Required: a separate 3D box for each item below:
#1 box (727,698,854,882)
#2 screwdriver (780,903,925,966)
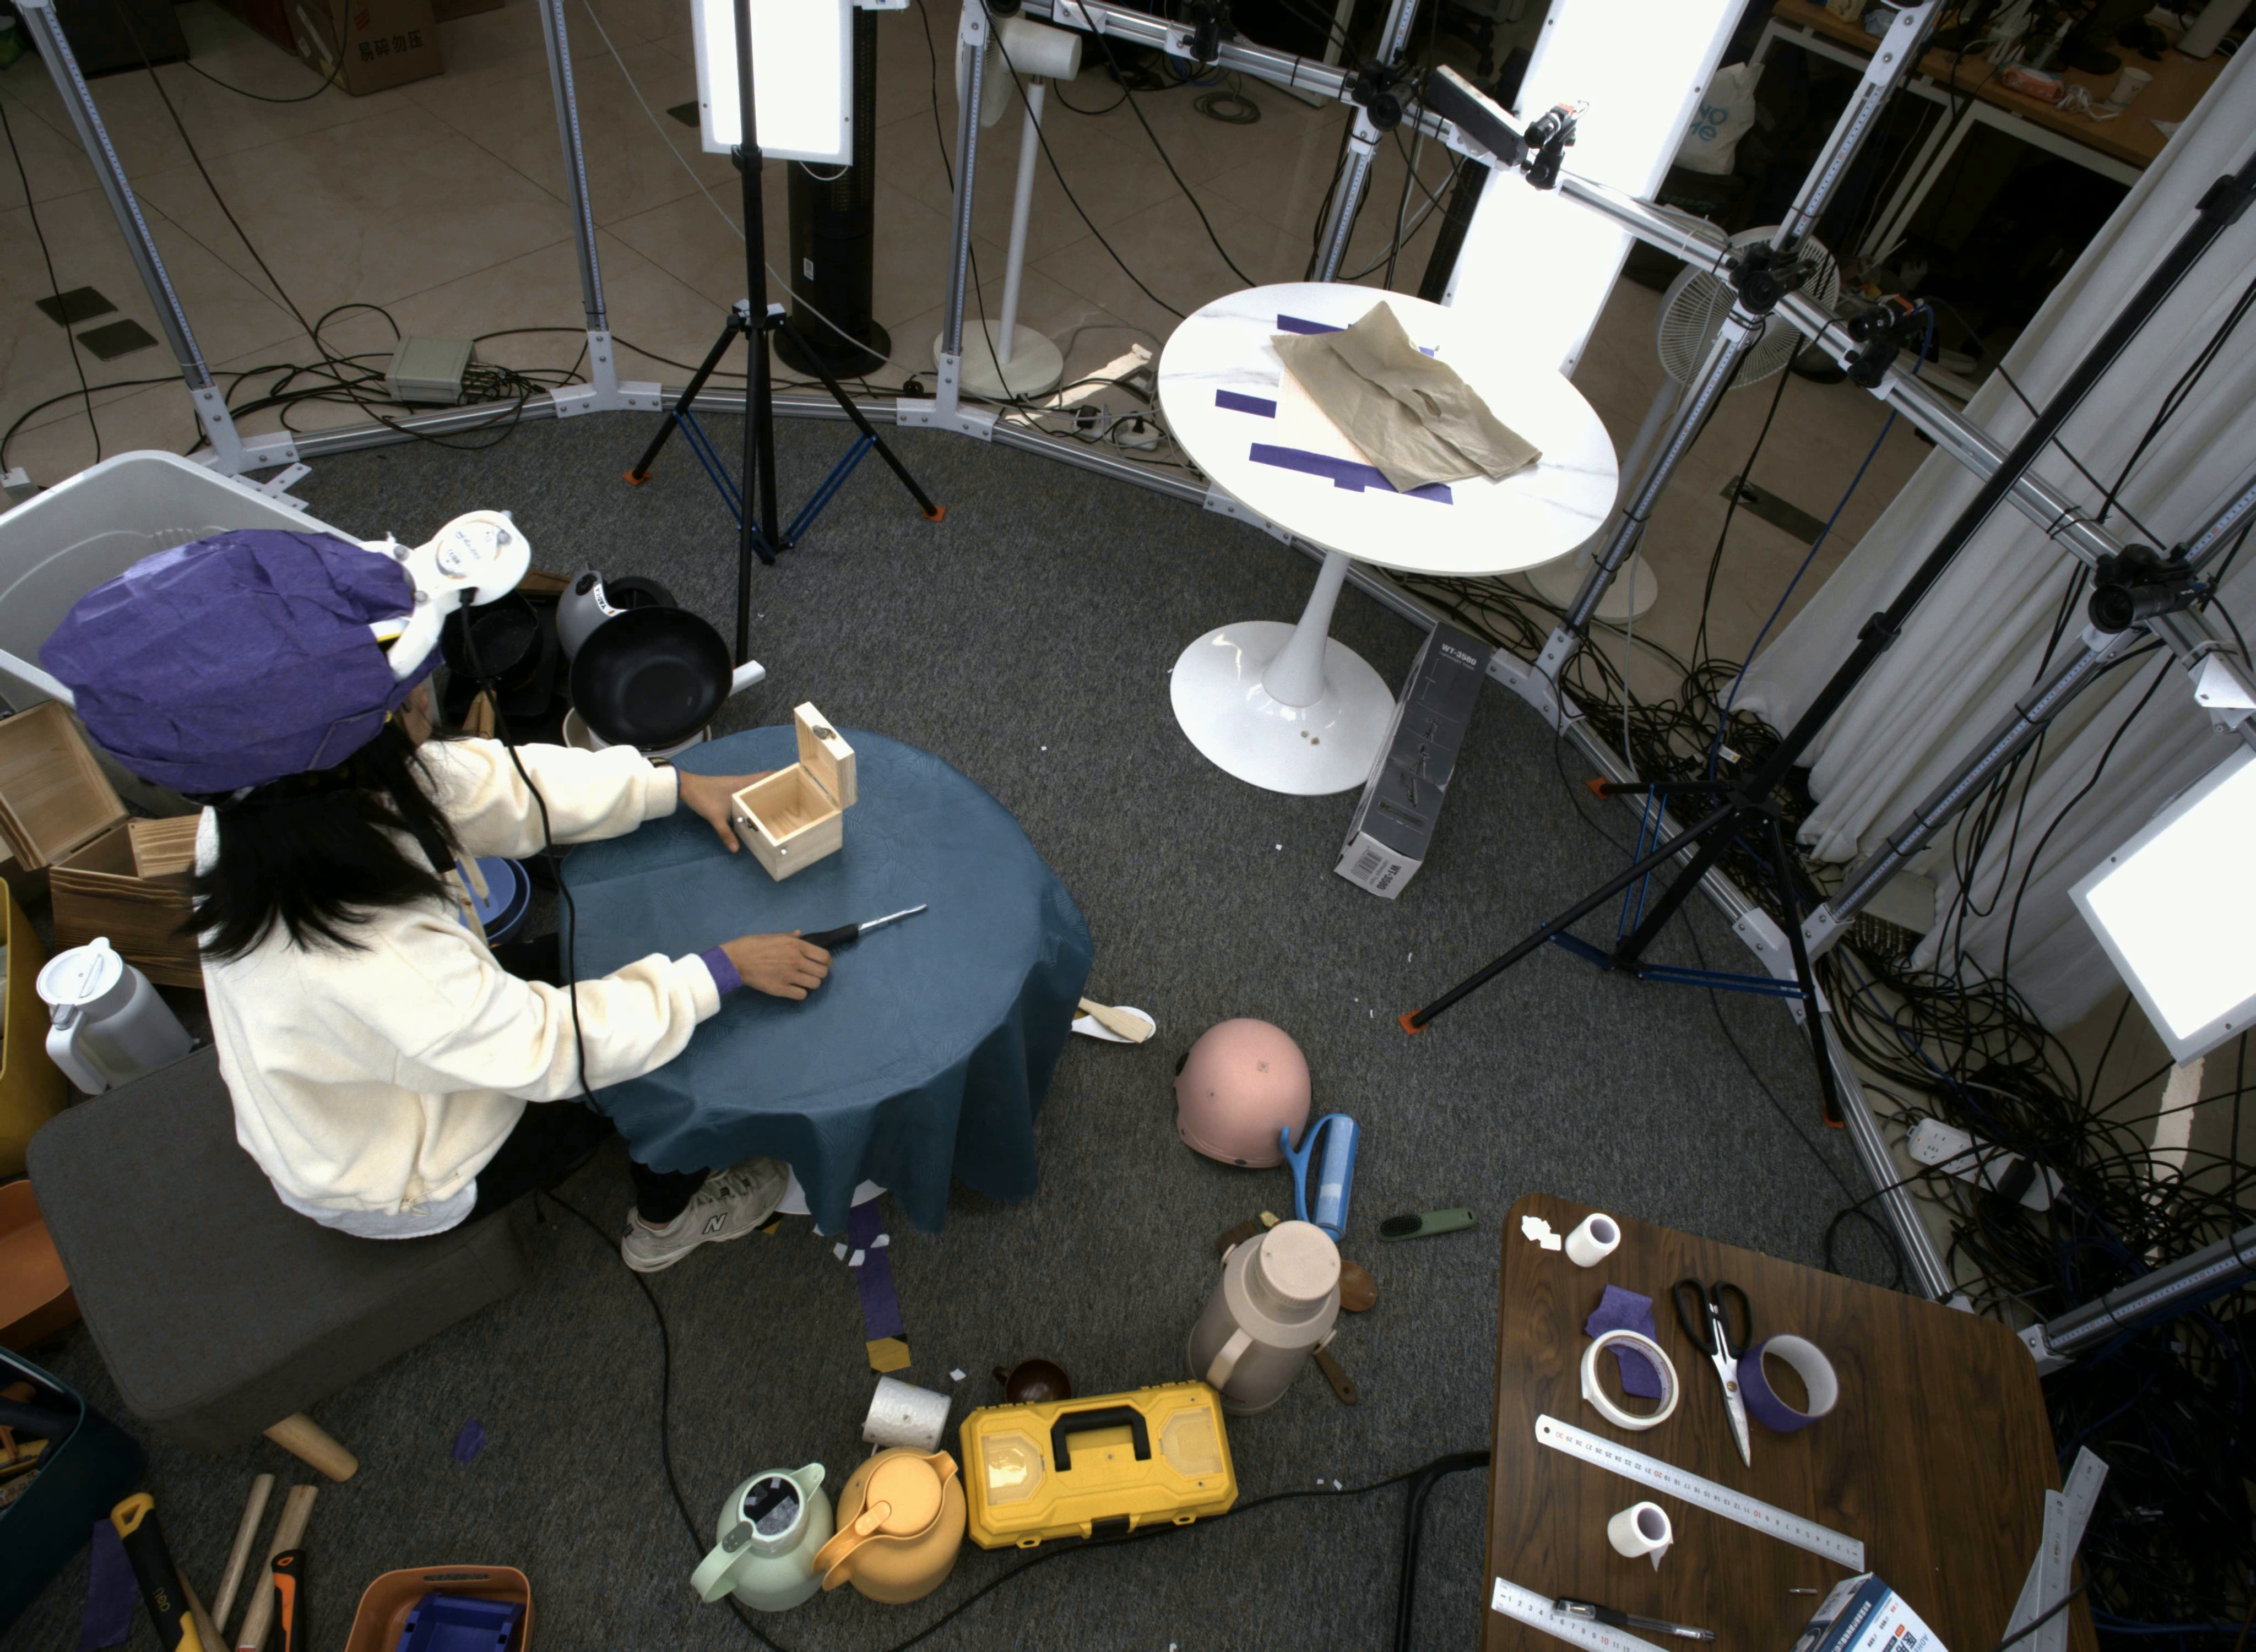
[{"bbox_3d":[-0.428,-0.045,1.632,0.134,0.188,0.100,-31,65,-32],"label":"box"},{"bbox_3d":[-0.341,0.132,1.628,0.199,0.032,0.030,-18,58,-28],"label":"screwdriver"}]
